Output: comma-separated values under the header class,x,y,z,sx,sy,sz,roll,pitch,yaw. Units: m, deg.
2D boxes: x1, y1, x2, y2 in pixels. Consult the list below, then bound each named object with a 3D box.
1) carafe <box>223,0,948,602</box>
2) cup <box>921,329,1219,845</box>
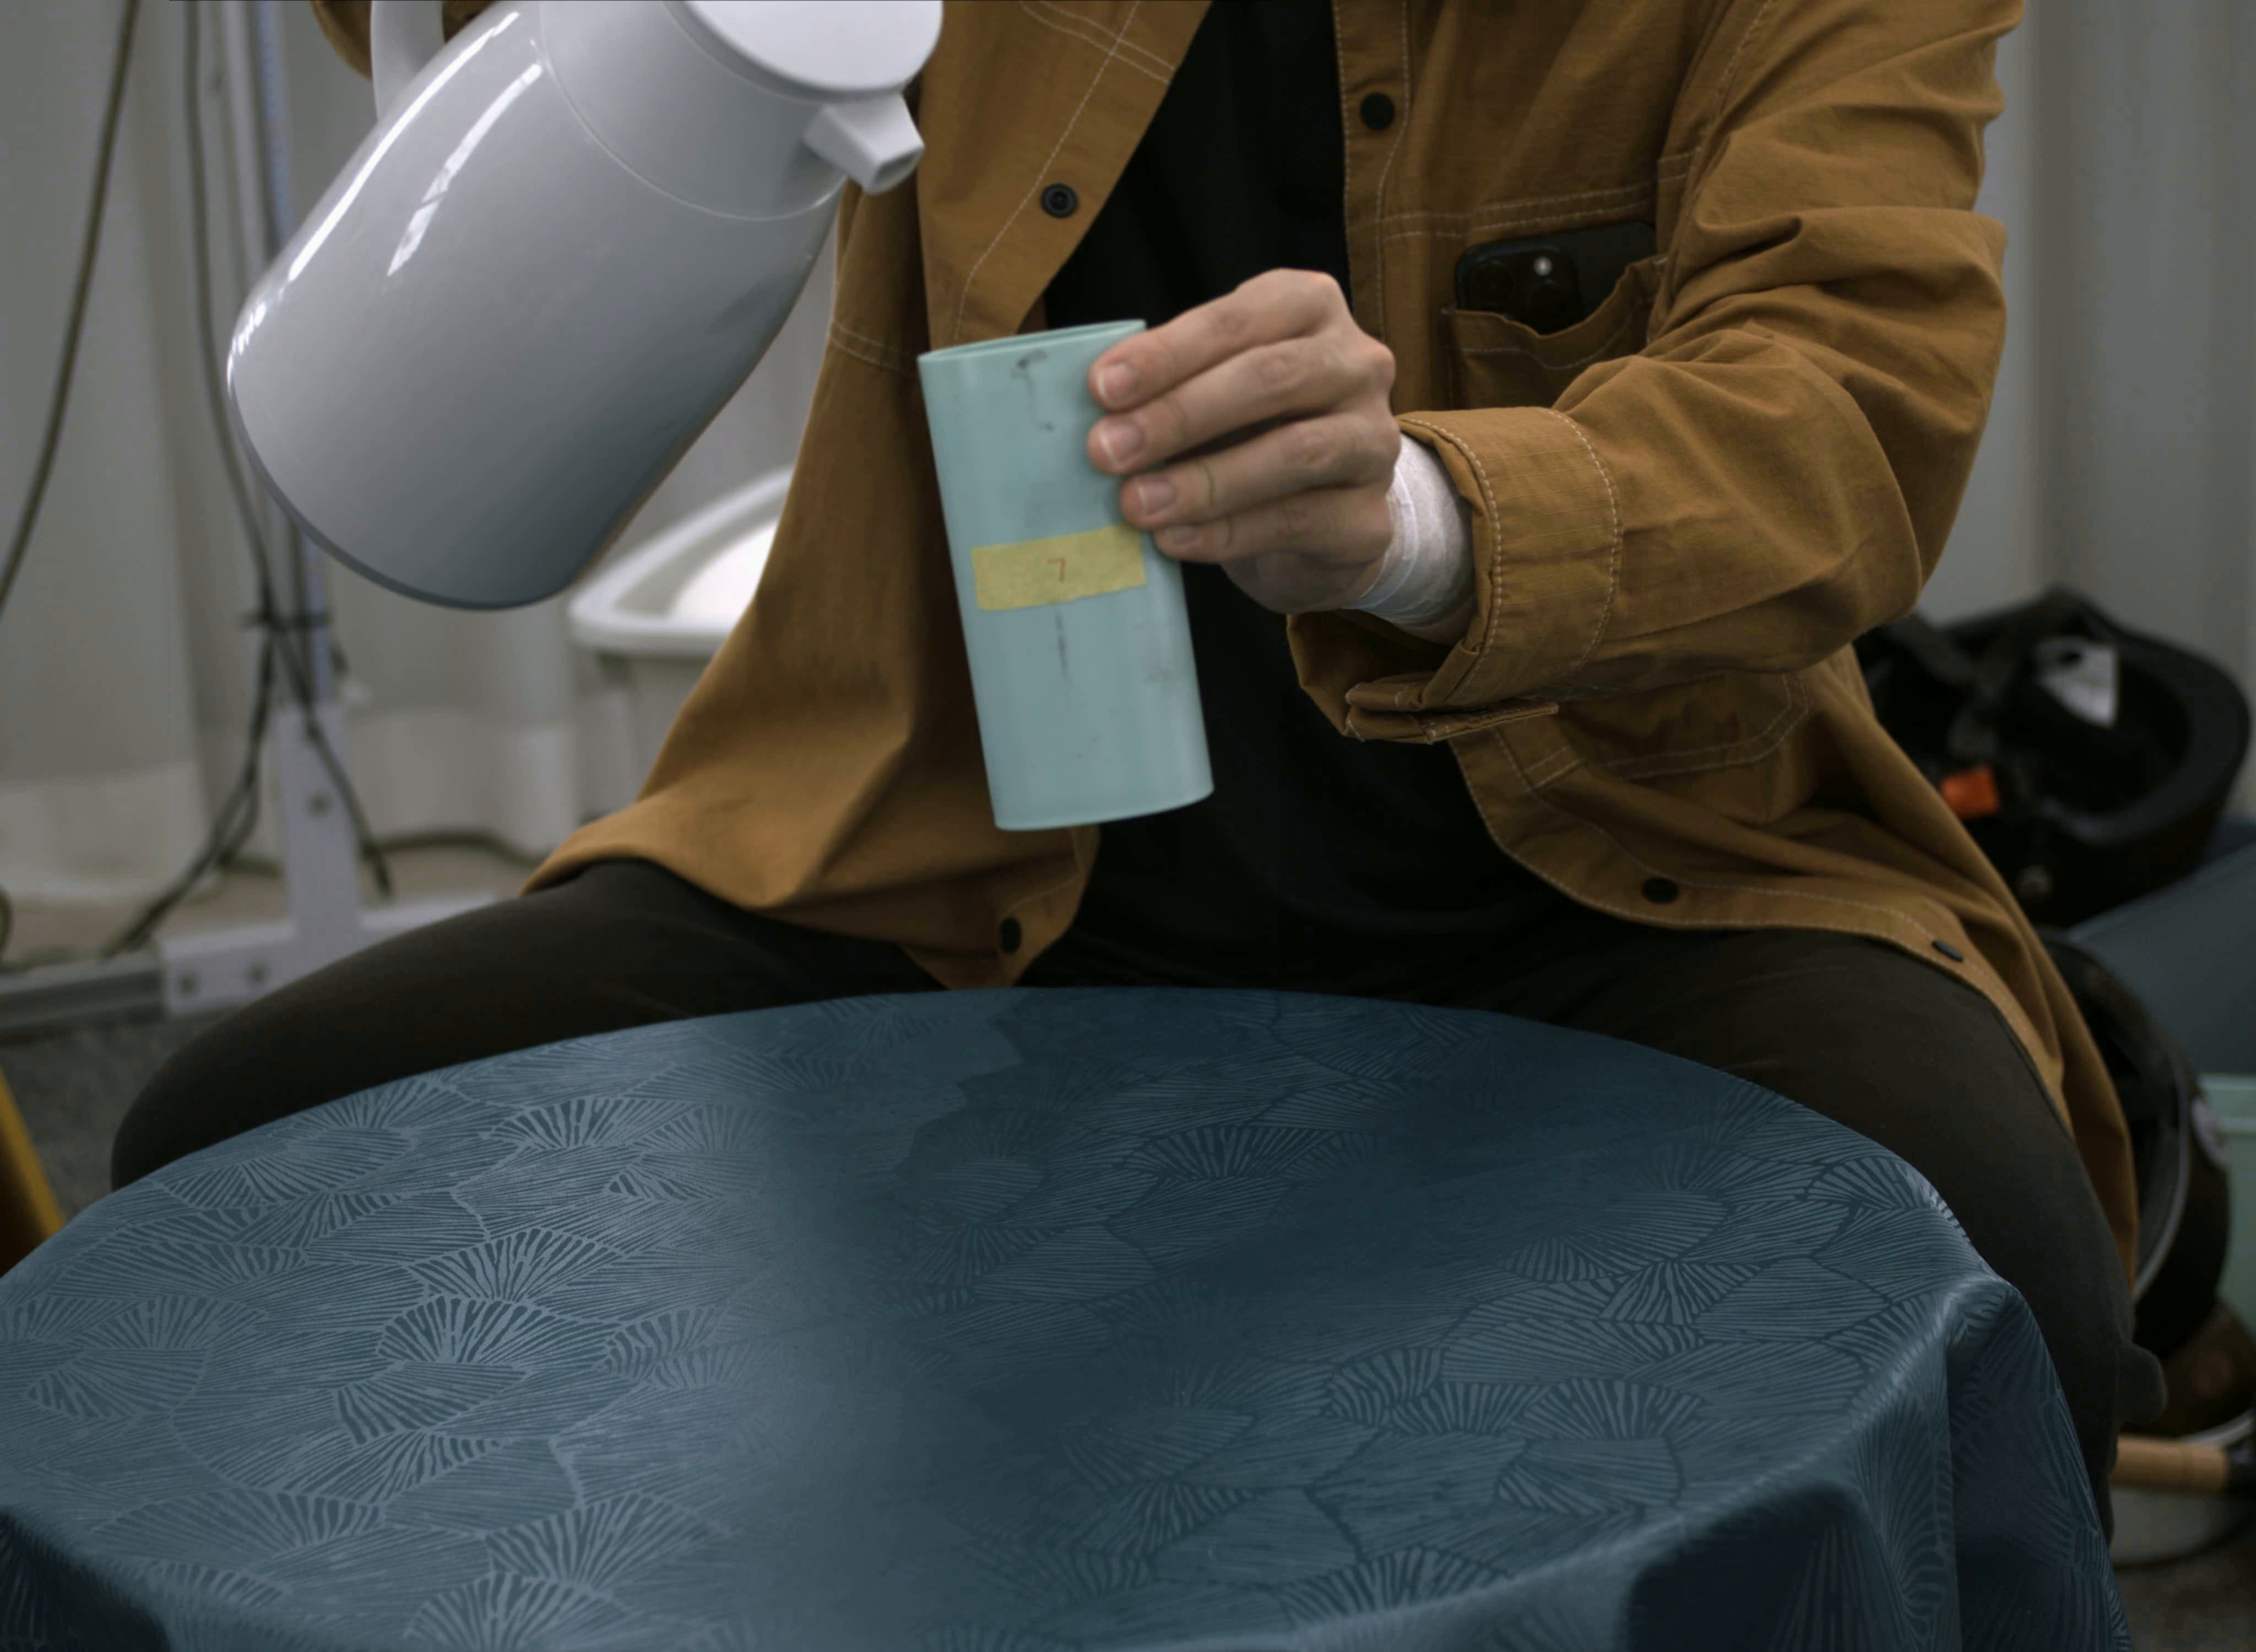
class,x,y,z,sx,sy,sz,roll,pitch,yaw
carafe,-0.161,-0.197,1.575,0.133,0.168,0.247,-29,-10,-45
cup,-0.015,-0.066,1.496,0.066,0.132,0.067,-9,6,1
